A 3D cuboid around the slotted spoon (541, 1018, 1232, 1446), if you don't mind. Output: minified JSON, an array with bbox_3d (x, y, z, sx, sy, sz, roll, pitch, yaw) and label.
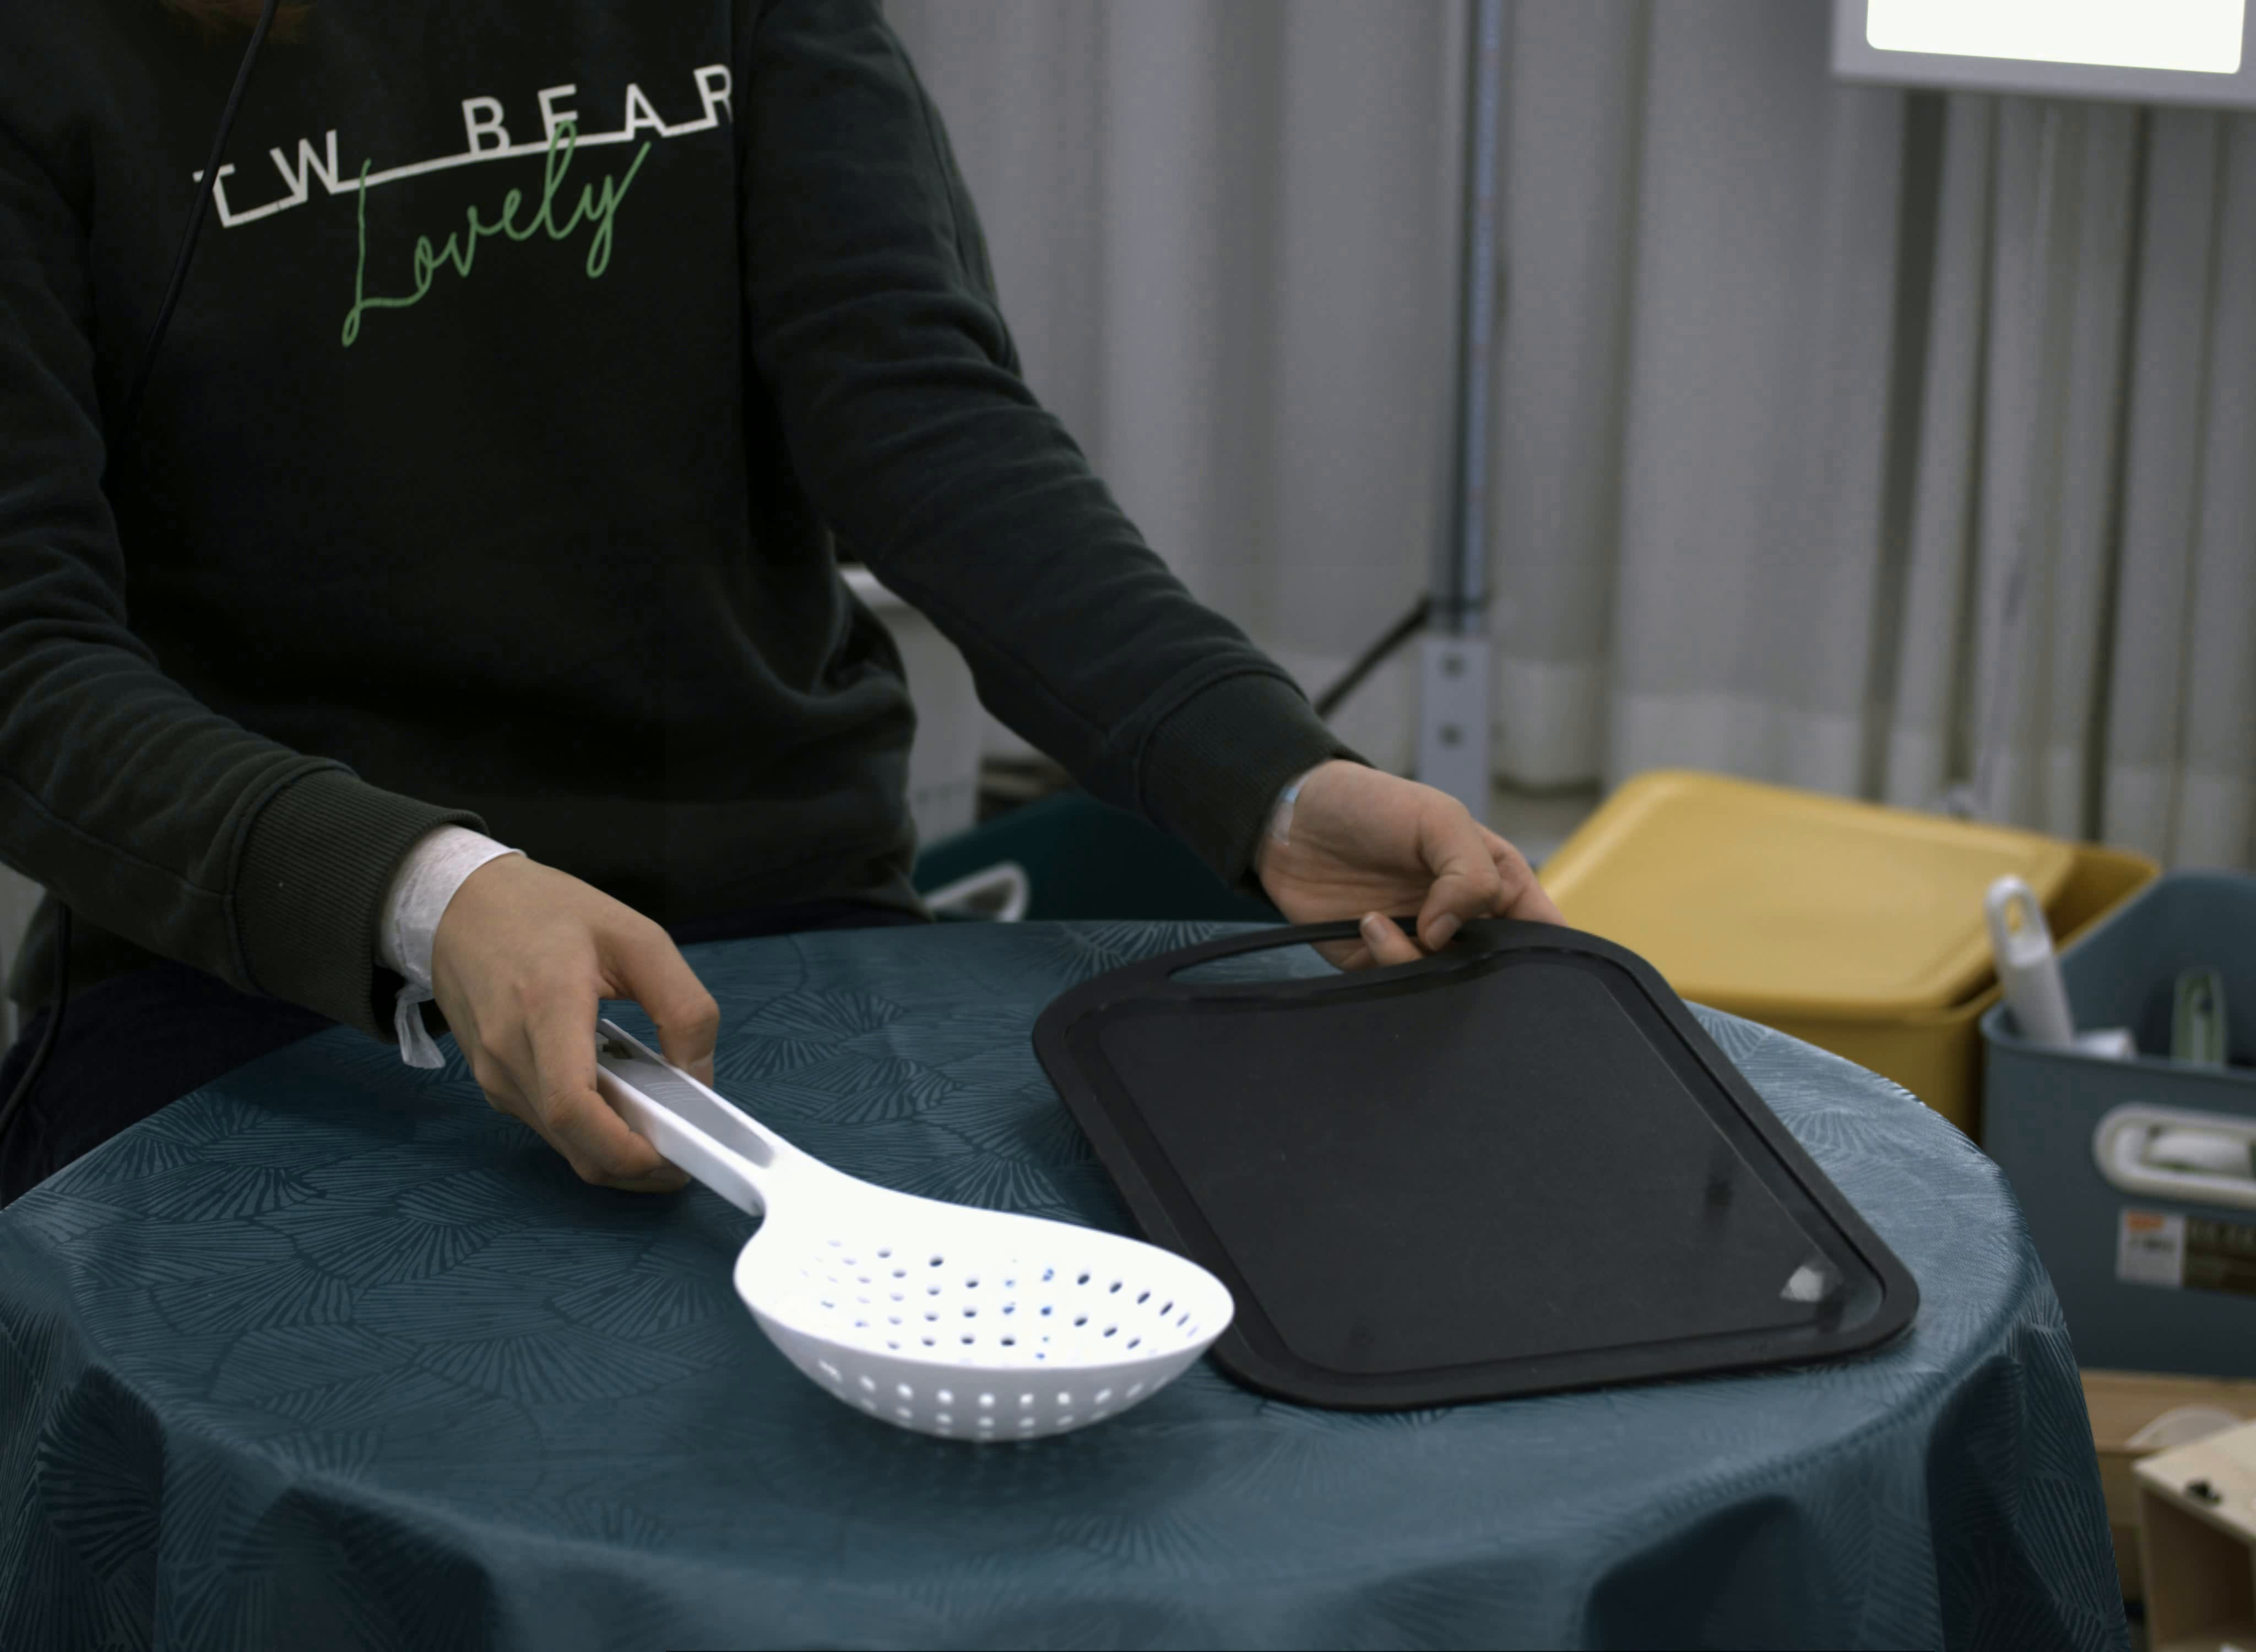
[{"bbox_3d":[-0.092,0.108,1.519,0.137,0.046,0.345,-2,19,-30],"label":"slotted spoon"}]

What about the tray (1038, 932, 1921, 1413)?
[{"bbox_3d":[0.096,0.096,1.608,0.211,0.010,0.322,-6,23,-14],"label":"tray"}]
